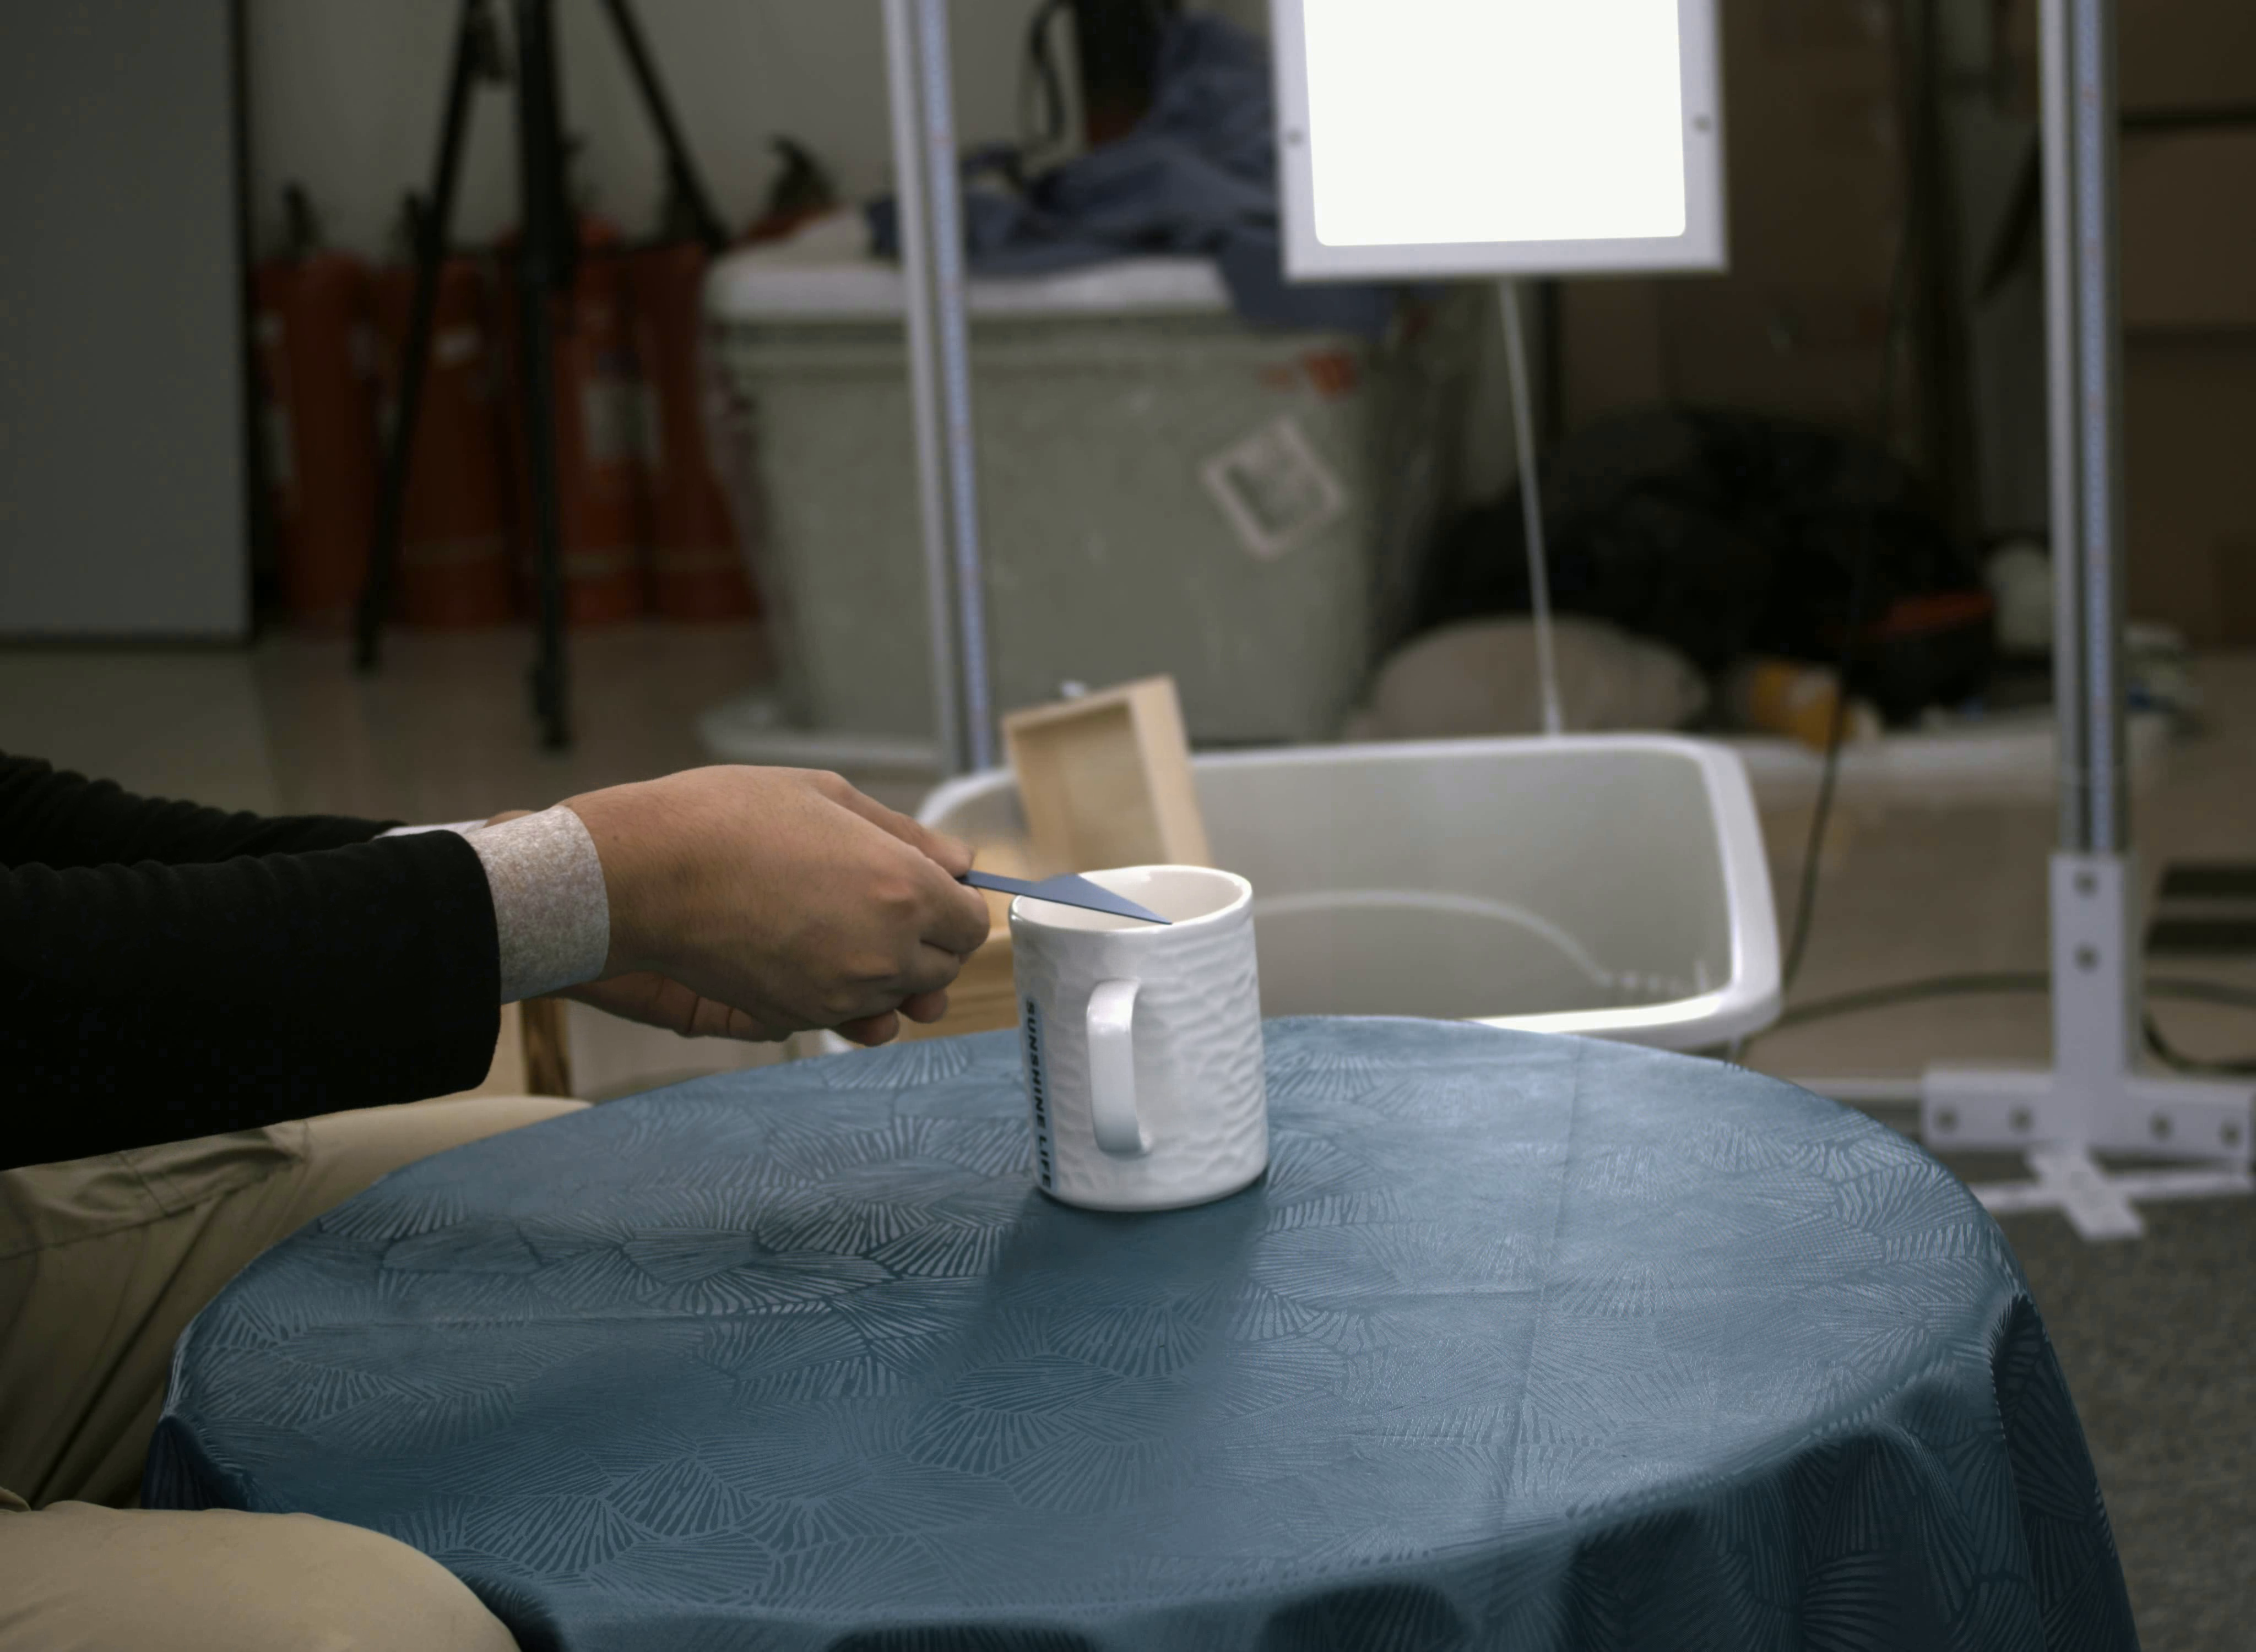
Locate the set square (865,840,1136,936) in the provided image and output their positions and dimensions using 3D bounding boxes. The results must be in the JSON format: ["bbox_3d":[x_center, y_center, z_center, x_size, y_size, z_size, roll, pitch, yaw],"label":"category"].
[{"bbox_3d":[-0.046,0.020,1.833,0.060,0.006,0.134,-2,14,-23],"label":"set square"}]

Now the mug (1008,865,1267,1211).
[{"bbox_3d":[0.002,0.077,1.884,0.085,0.102,0.117,-2,14,9],"label":"mug"}]
